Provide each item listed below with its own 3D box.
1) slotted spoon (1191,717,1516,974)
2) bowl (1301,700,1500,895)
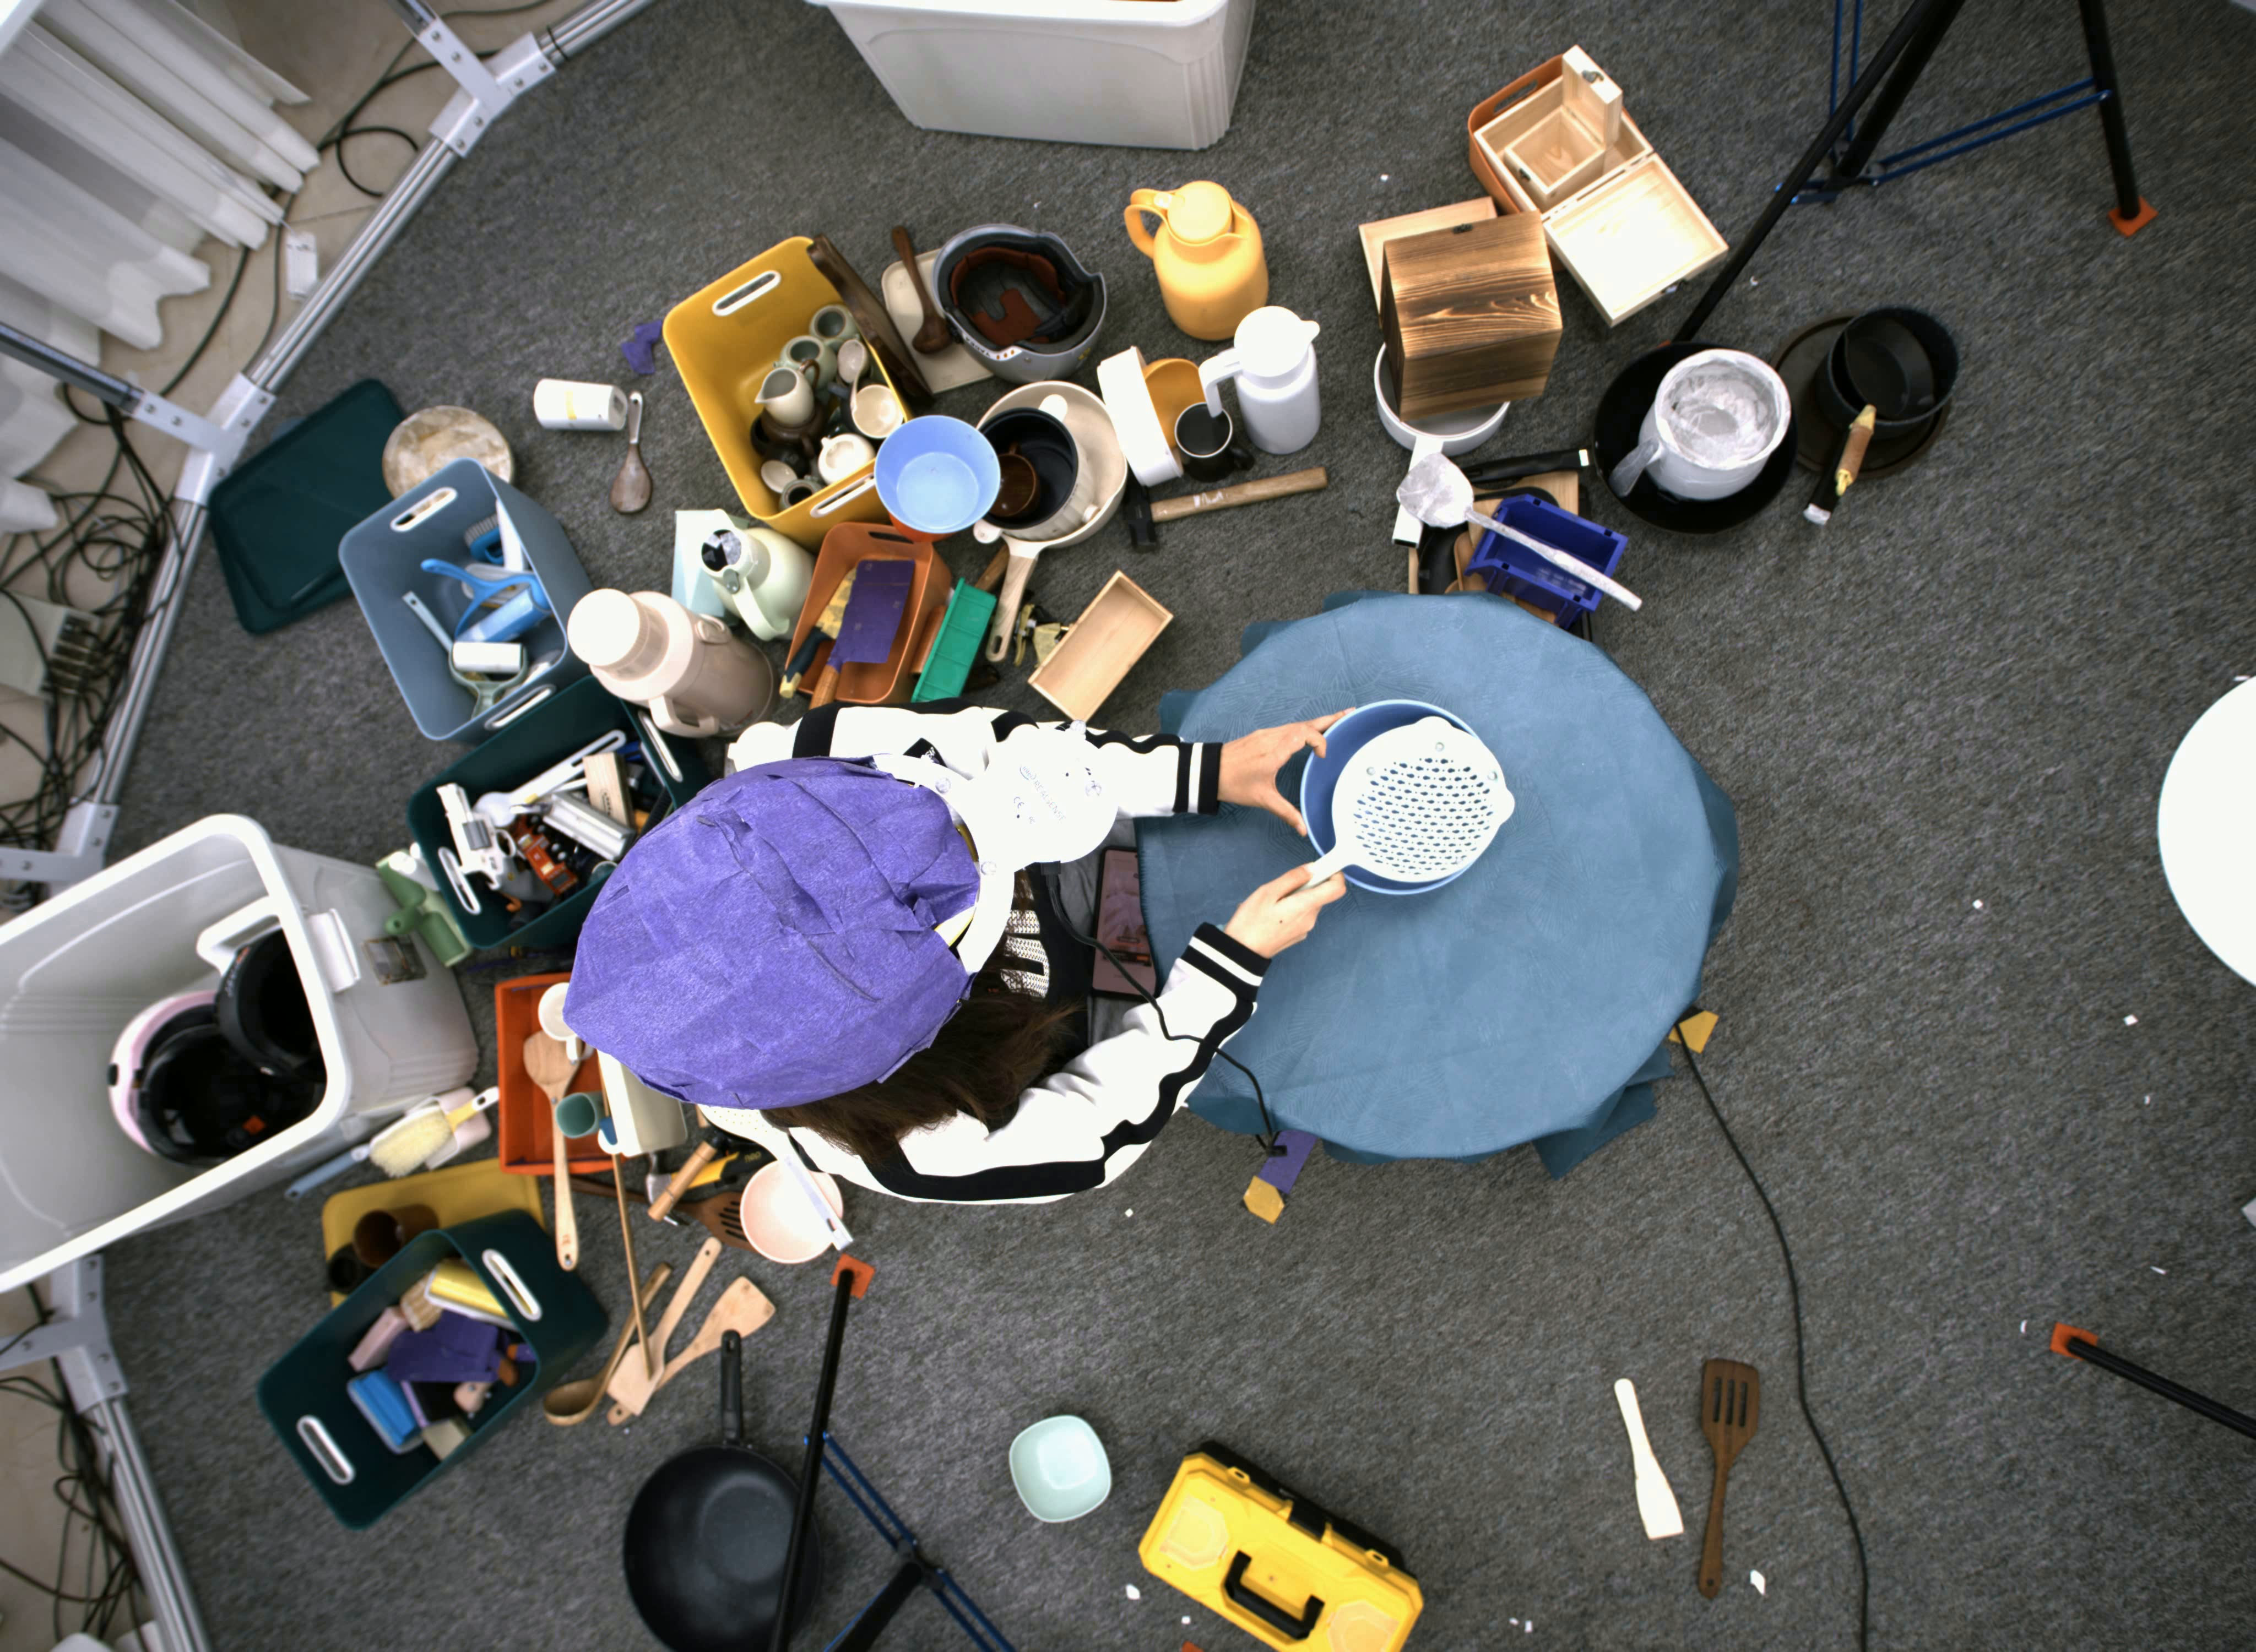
[{"bbox_3d":[0.210,0.036,1.369,0.359,0.076,0.166,-32,59,0],"label":"slotted spoon"},{"bbox_3d":[0.278,-0.026,1.416,0.197,0.095,0.196,-1,87,10],"label":"bowl"}]
